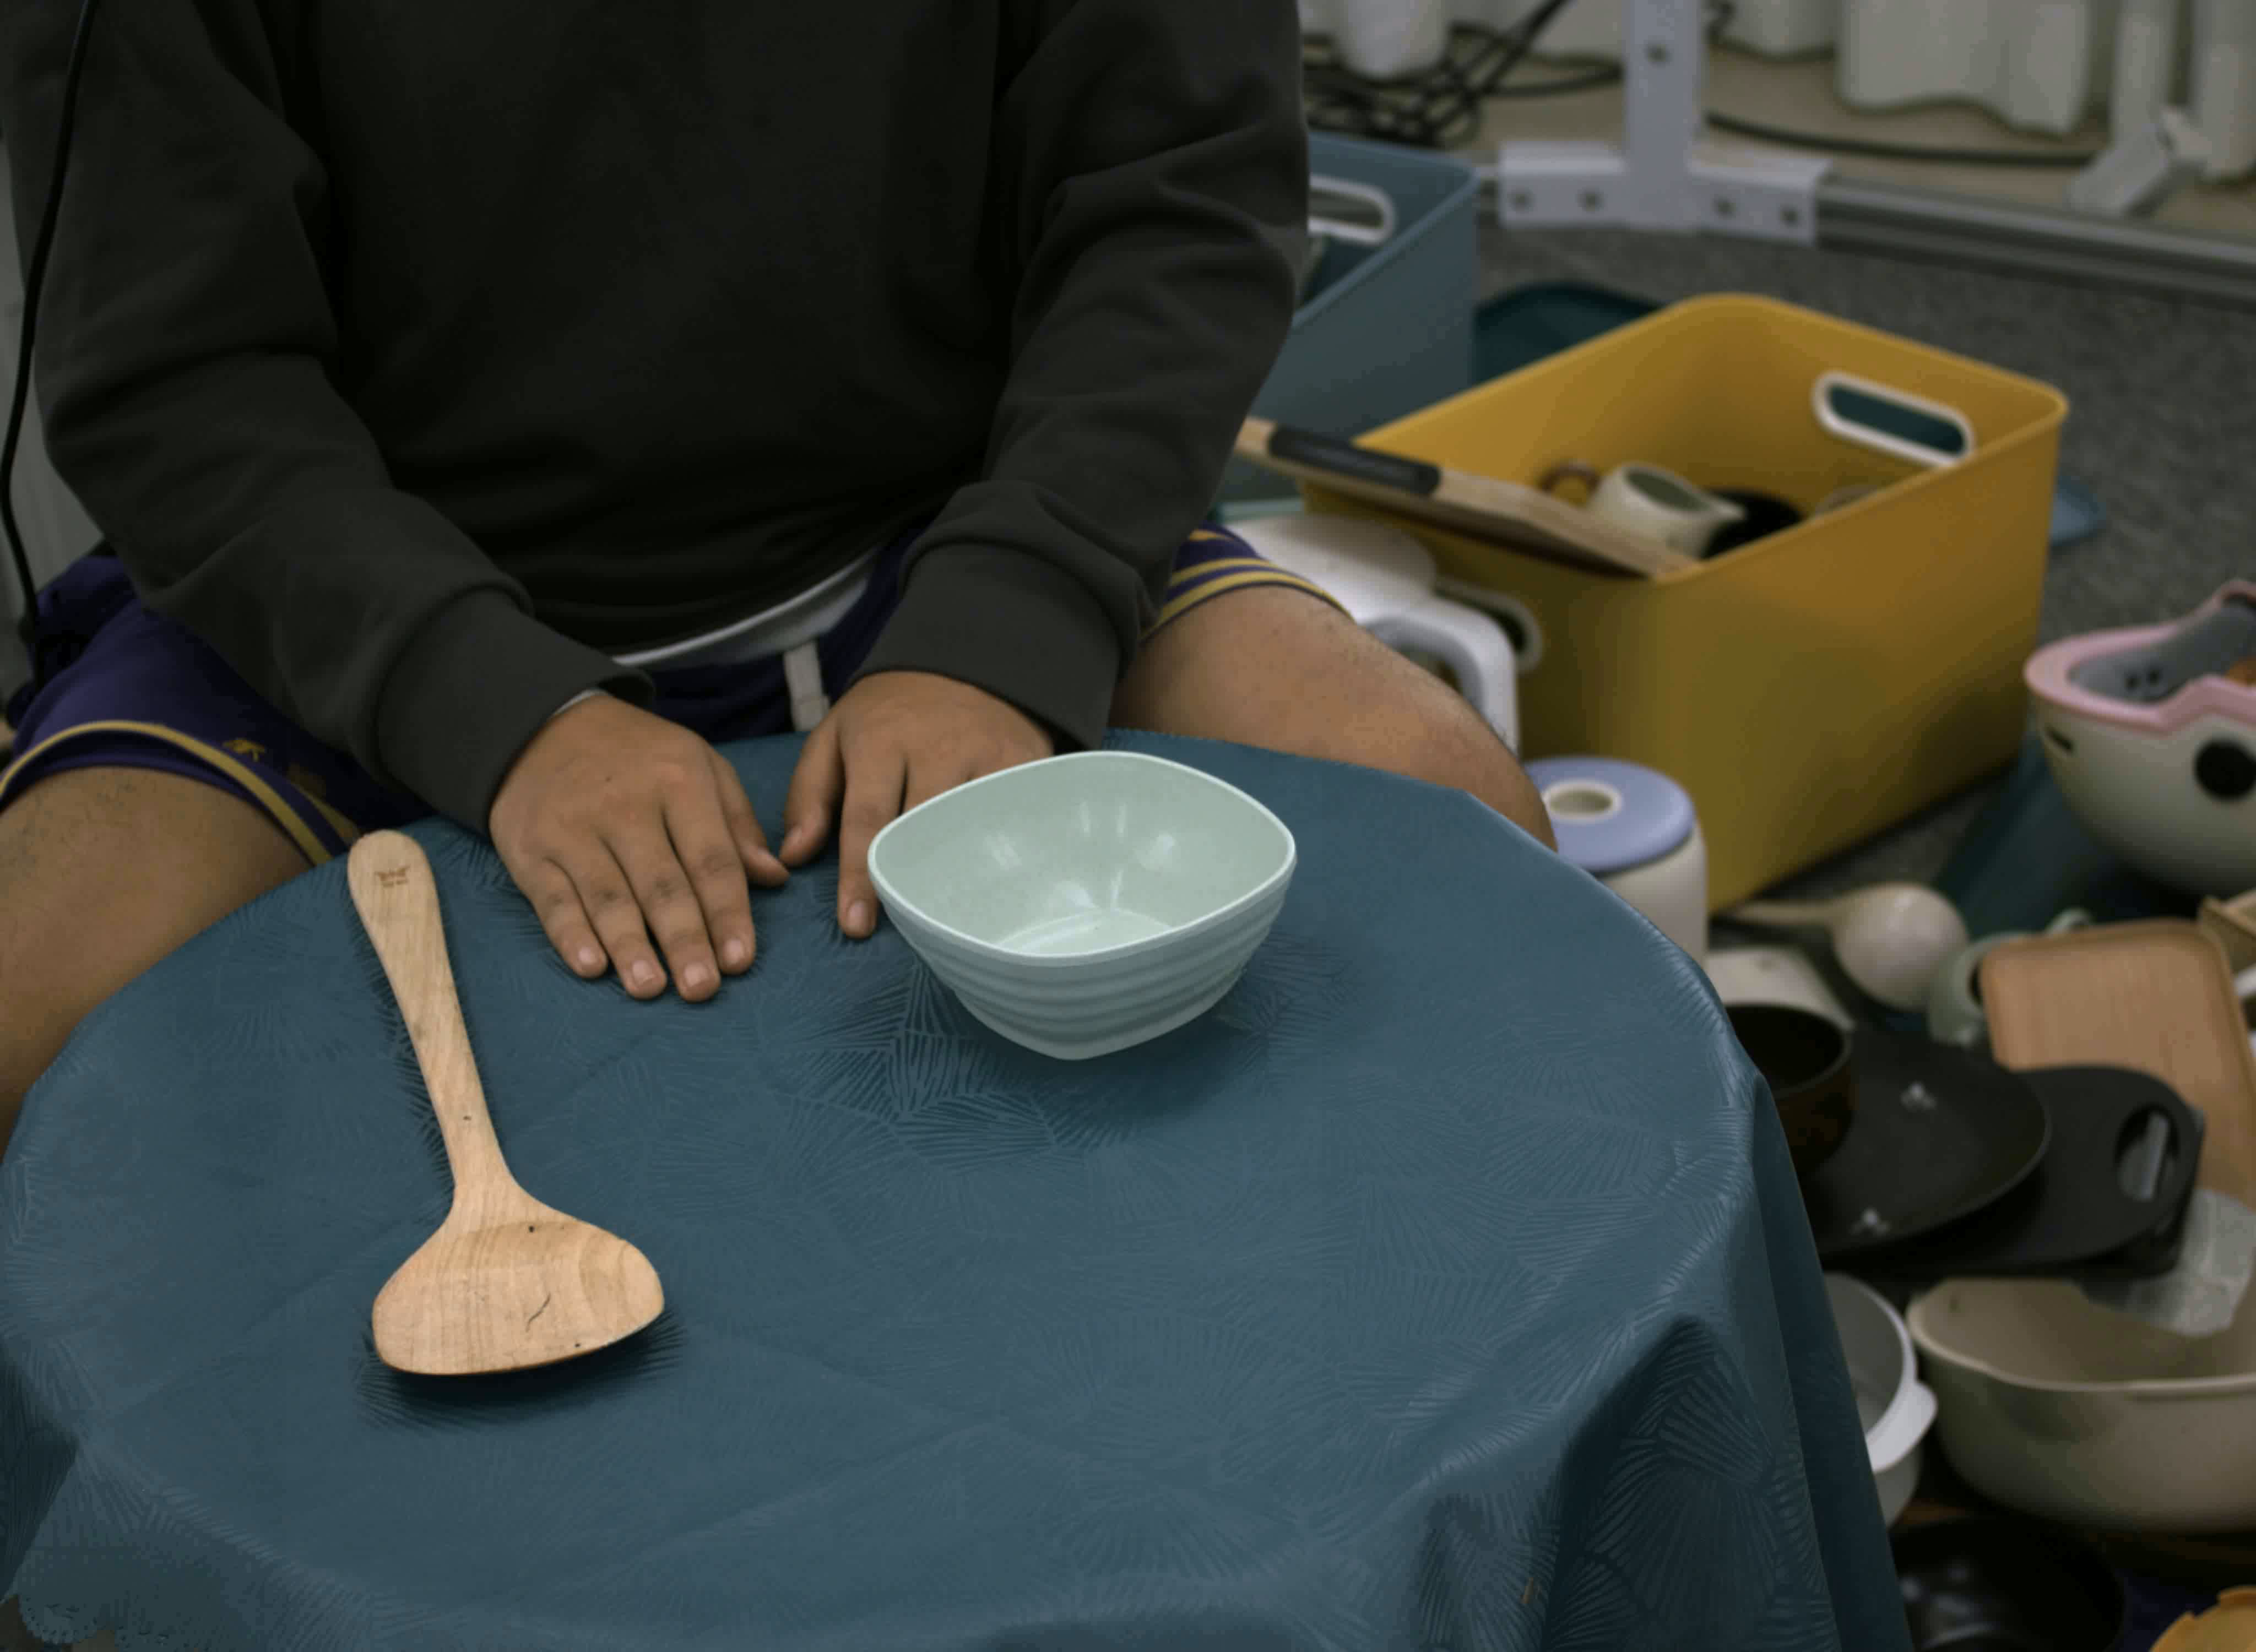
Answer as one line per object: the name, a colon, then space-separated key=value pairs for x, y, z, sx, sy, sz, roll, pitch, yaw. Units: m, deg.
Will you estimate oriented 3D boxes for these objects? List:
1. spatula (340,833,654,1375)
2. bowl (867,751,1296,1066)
spatula: x=-0.239 y=0.089 z=1.930 sx=0.096 sy=0.018 sz=0.395 roll=-7 pitch=28 yaw=-12
bowl: x=-0.016 y=0.035 z=1.973 sx=0.151 sy=0.058 sz=0.154 roll=-1 pitch=28 yaw=1
